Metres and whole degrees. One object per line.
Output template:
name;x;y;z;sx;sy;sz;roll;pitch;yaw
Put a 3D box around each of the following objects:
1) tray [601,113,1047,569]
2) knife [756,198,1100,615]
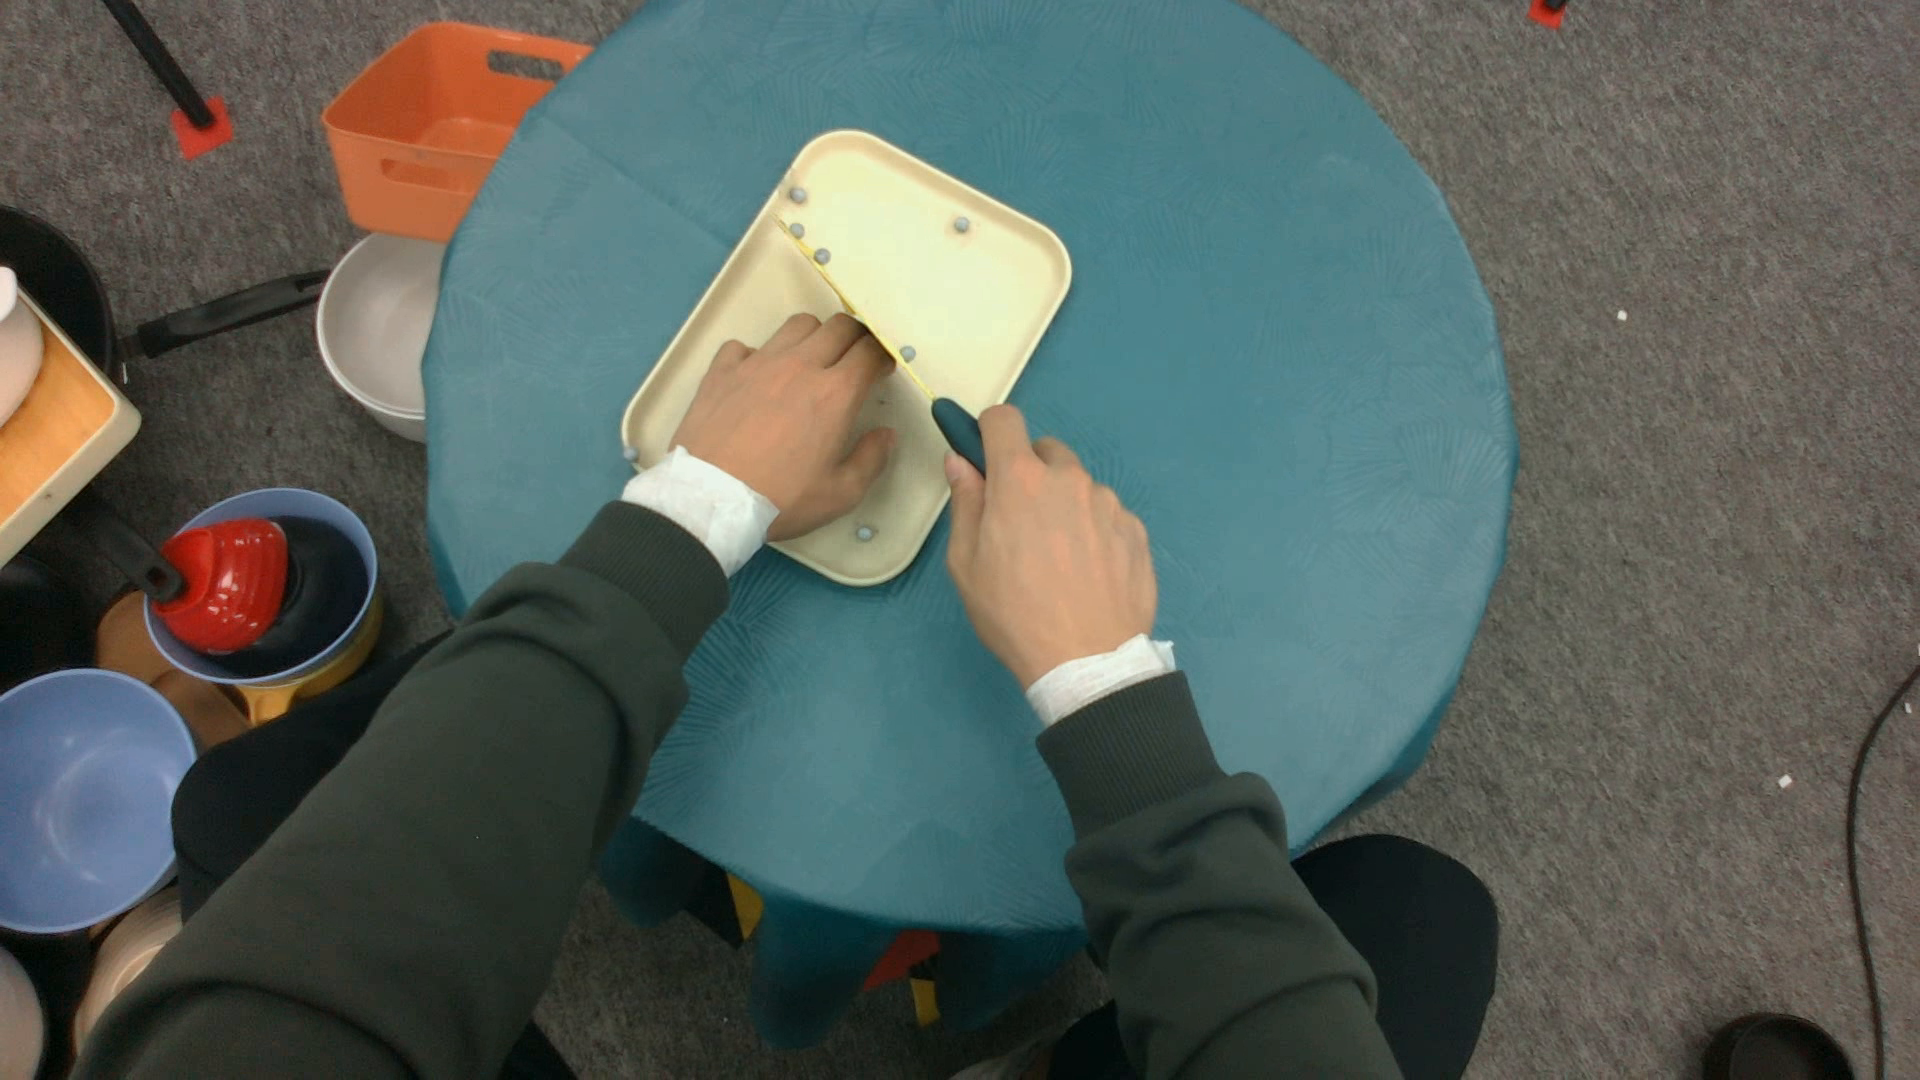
tray;-0.069;-0.111;0.745;0.171;0.017;0.240;28;71;2
knife;-0.023;-0.075;0.694;0.027;0.081;0.290;-40;71;5
